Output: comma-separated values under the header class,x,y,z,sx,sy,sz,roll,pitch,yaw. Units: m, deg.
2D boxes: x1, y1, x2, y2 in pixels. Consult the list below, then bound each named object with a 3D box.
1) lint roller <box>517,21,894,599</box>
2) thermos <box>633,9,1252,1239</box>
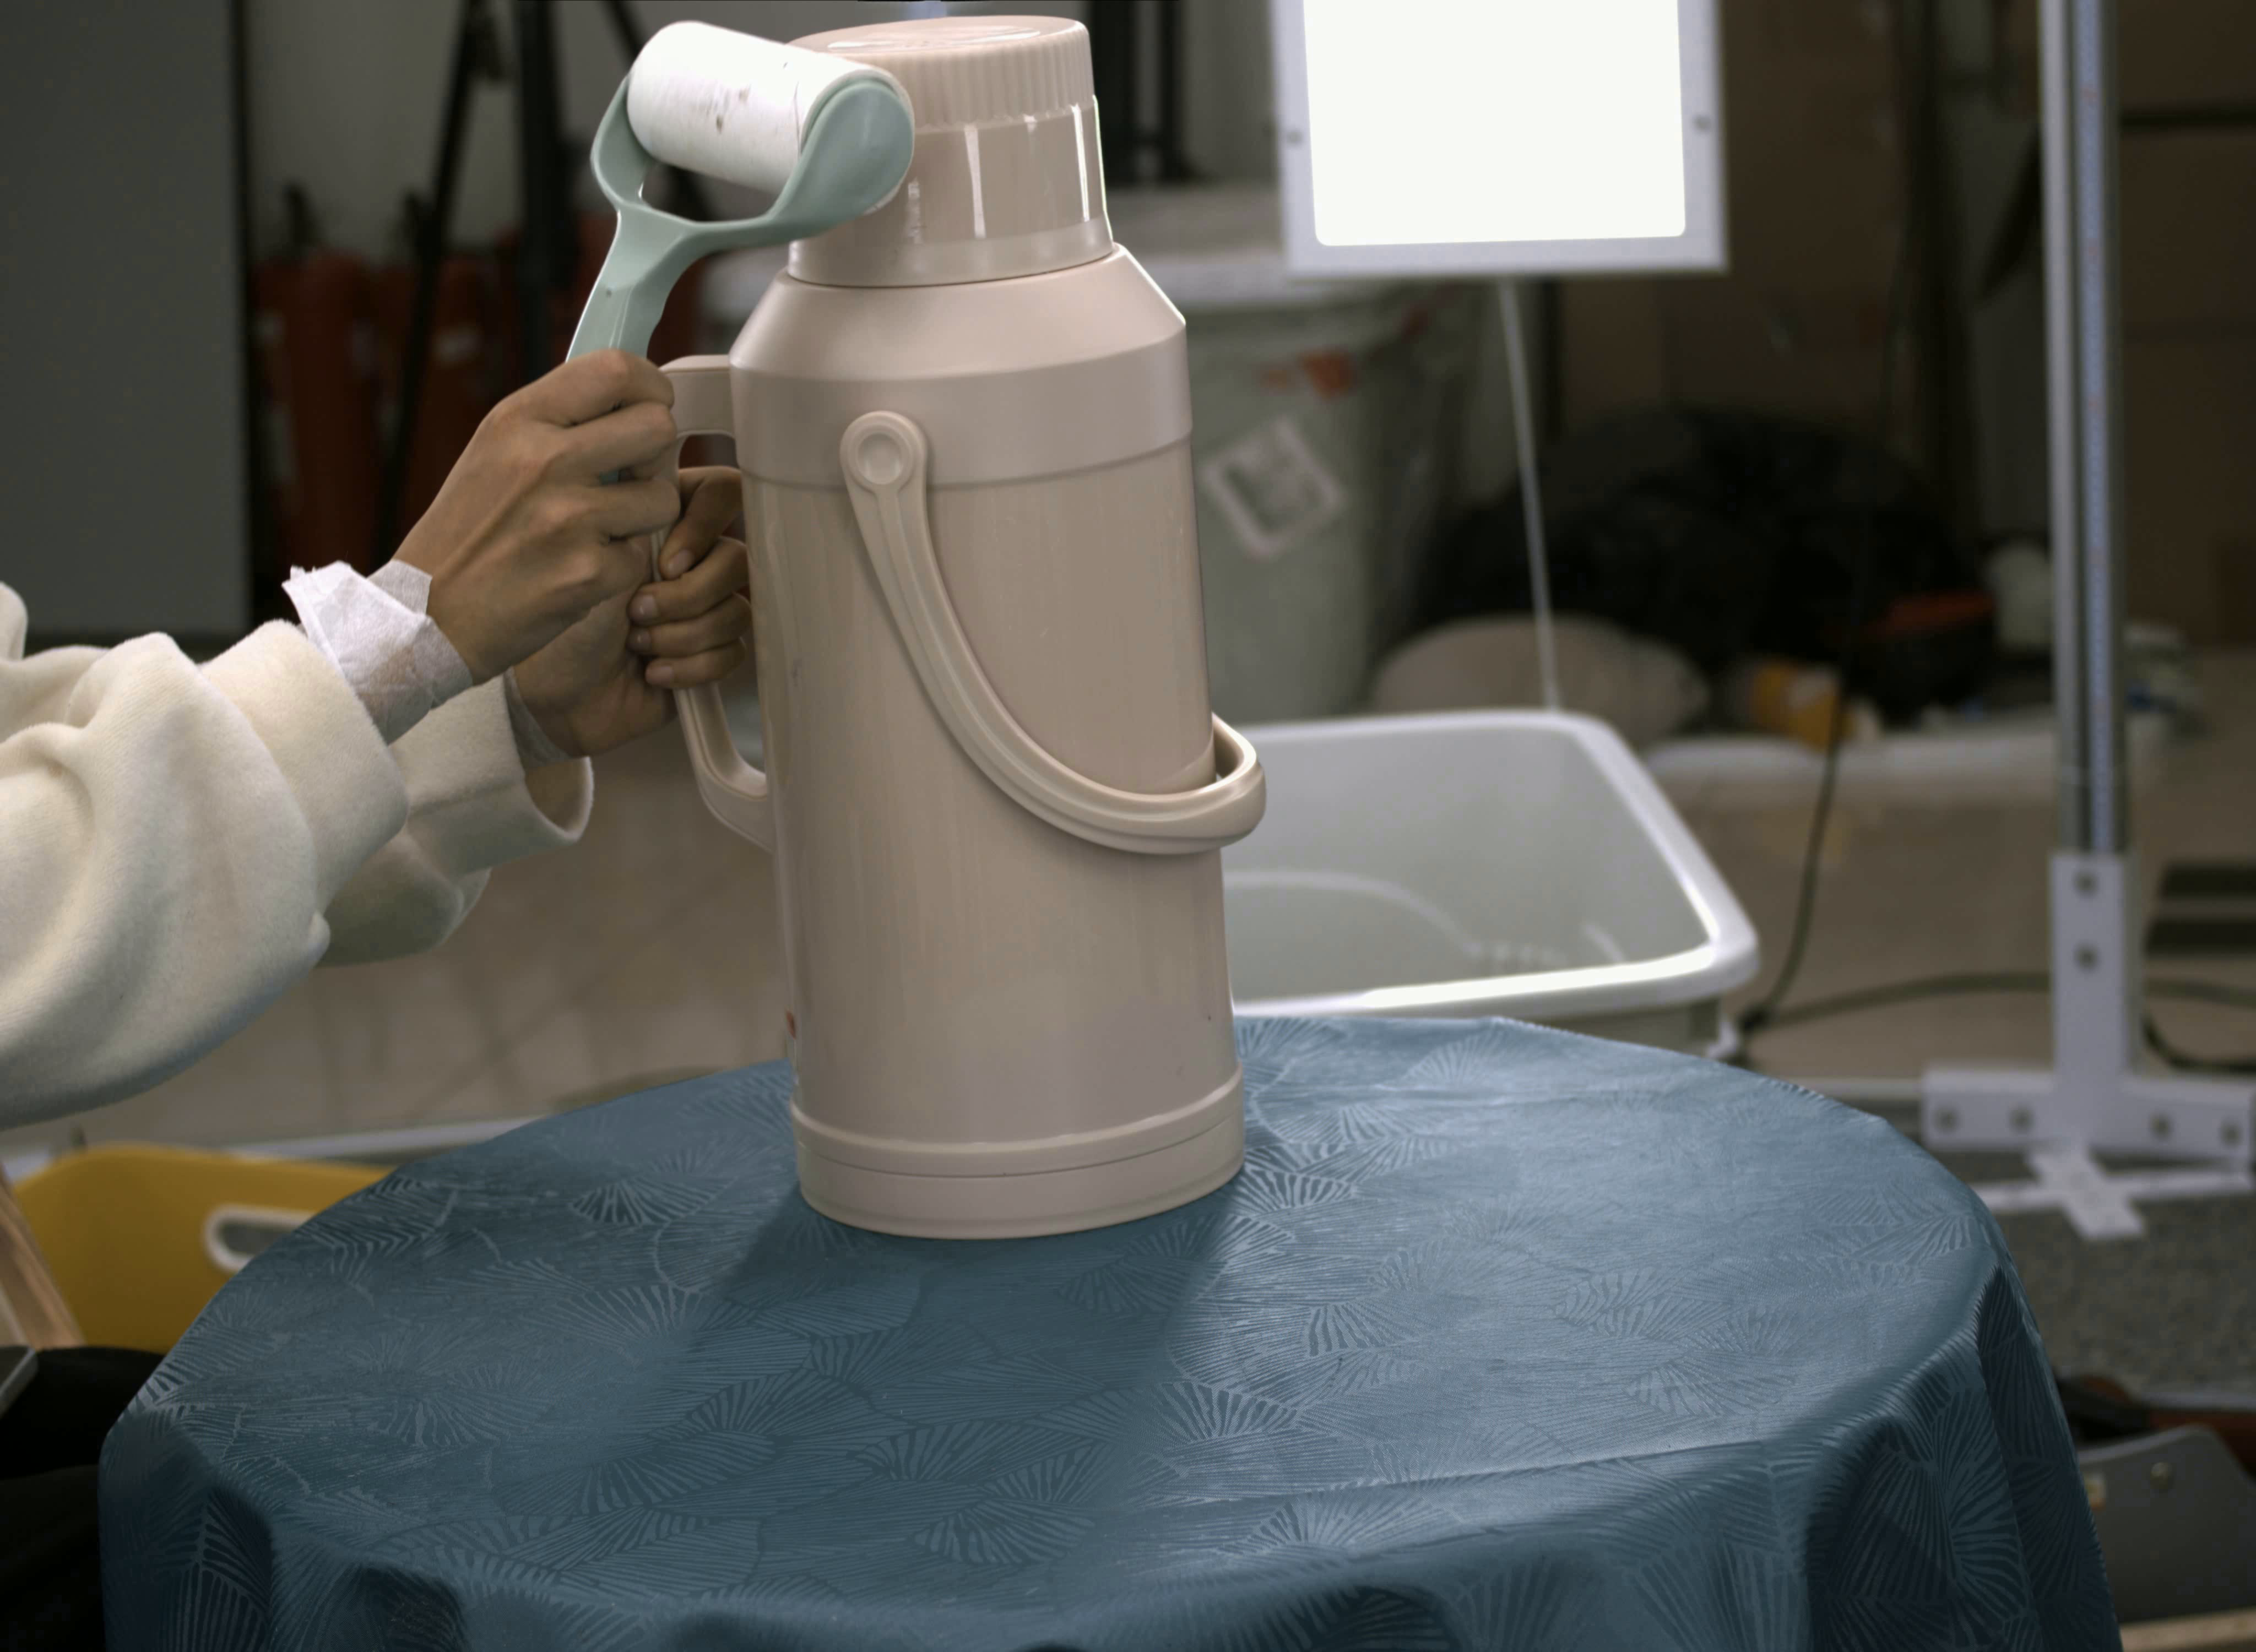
class,x,y,z,sx,sy,sz,roll,pitch,yaw
lint roller,-0.158,-0.168,1.796,0.047,0.197,0.119,32,-6,-43
thermos,-0.064,-0.070,1.892,0.209,0.408,0.172,0,15,18
